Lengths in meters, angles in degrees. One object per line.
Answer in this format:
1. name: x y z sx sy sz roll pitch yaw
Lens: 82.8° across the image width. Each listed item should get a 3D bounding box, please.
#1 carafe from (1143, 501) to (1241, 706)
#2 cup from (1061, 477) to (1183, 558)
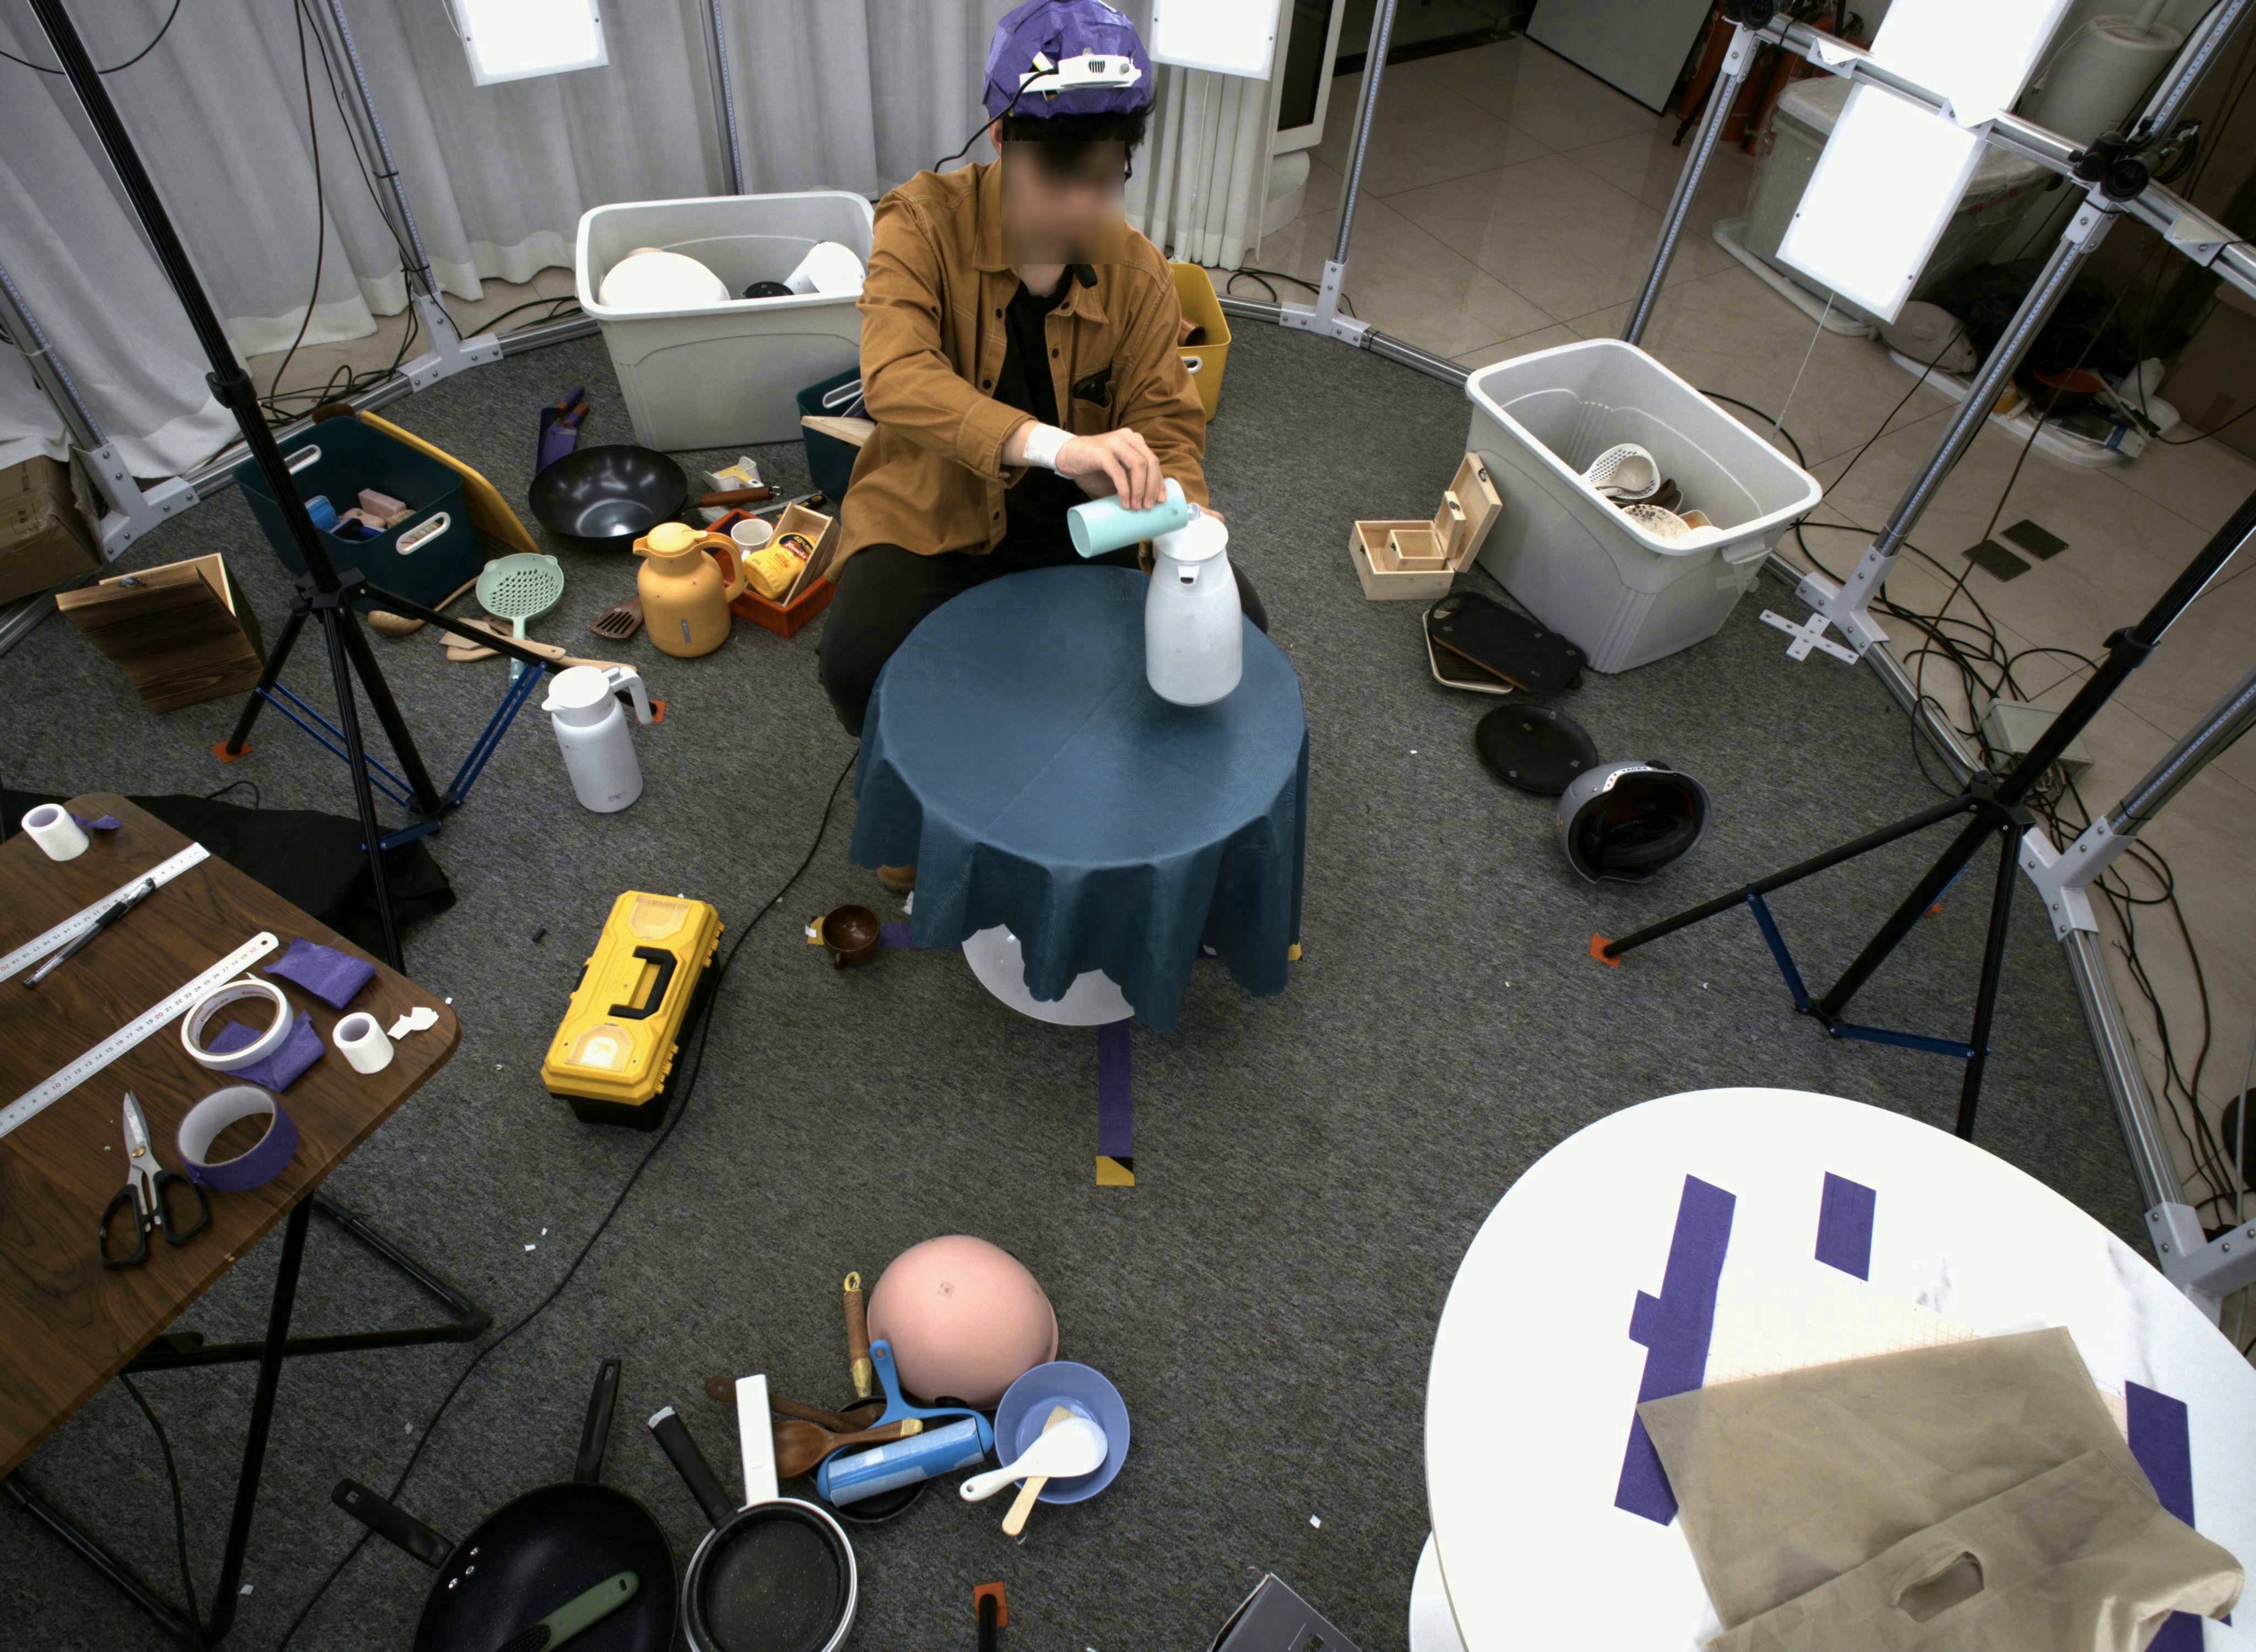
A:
1. carafe: 0.085 -0.304 1.698 0.132 0.242 0.172 3 50 7
2. cup: -0.007 -0.367 1.527 0.132 0.065 0.068 -21 54 -18
